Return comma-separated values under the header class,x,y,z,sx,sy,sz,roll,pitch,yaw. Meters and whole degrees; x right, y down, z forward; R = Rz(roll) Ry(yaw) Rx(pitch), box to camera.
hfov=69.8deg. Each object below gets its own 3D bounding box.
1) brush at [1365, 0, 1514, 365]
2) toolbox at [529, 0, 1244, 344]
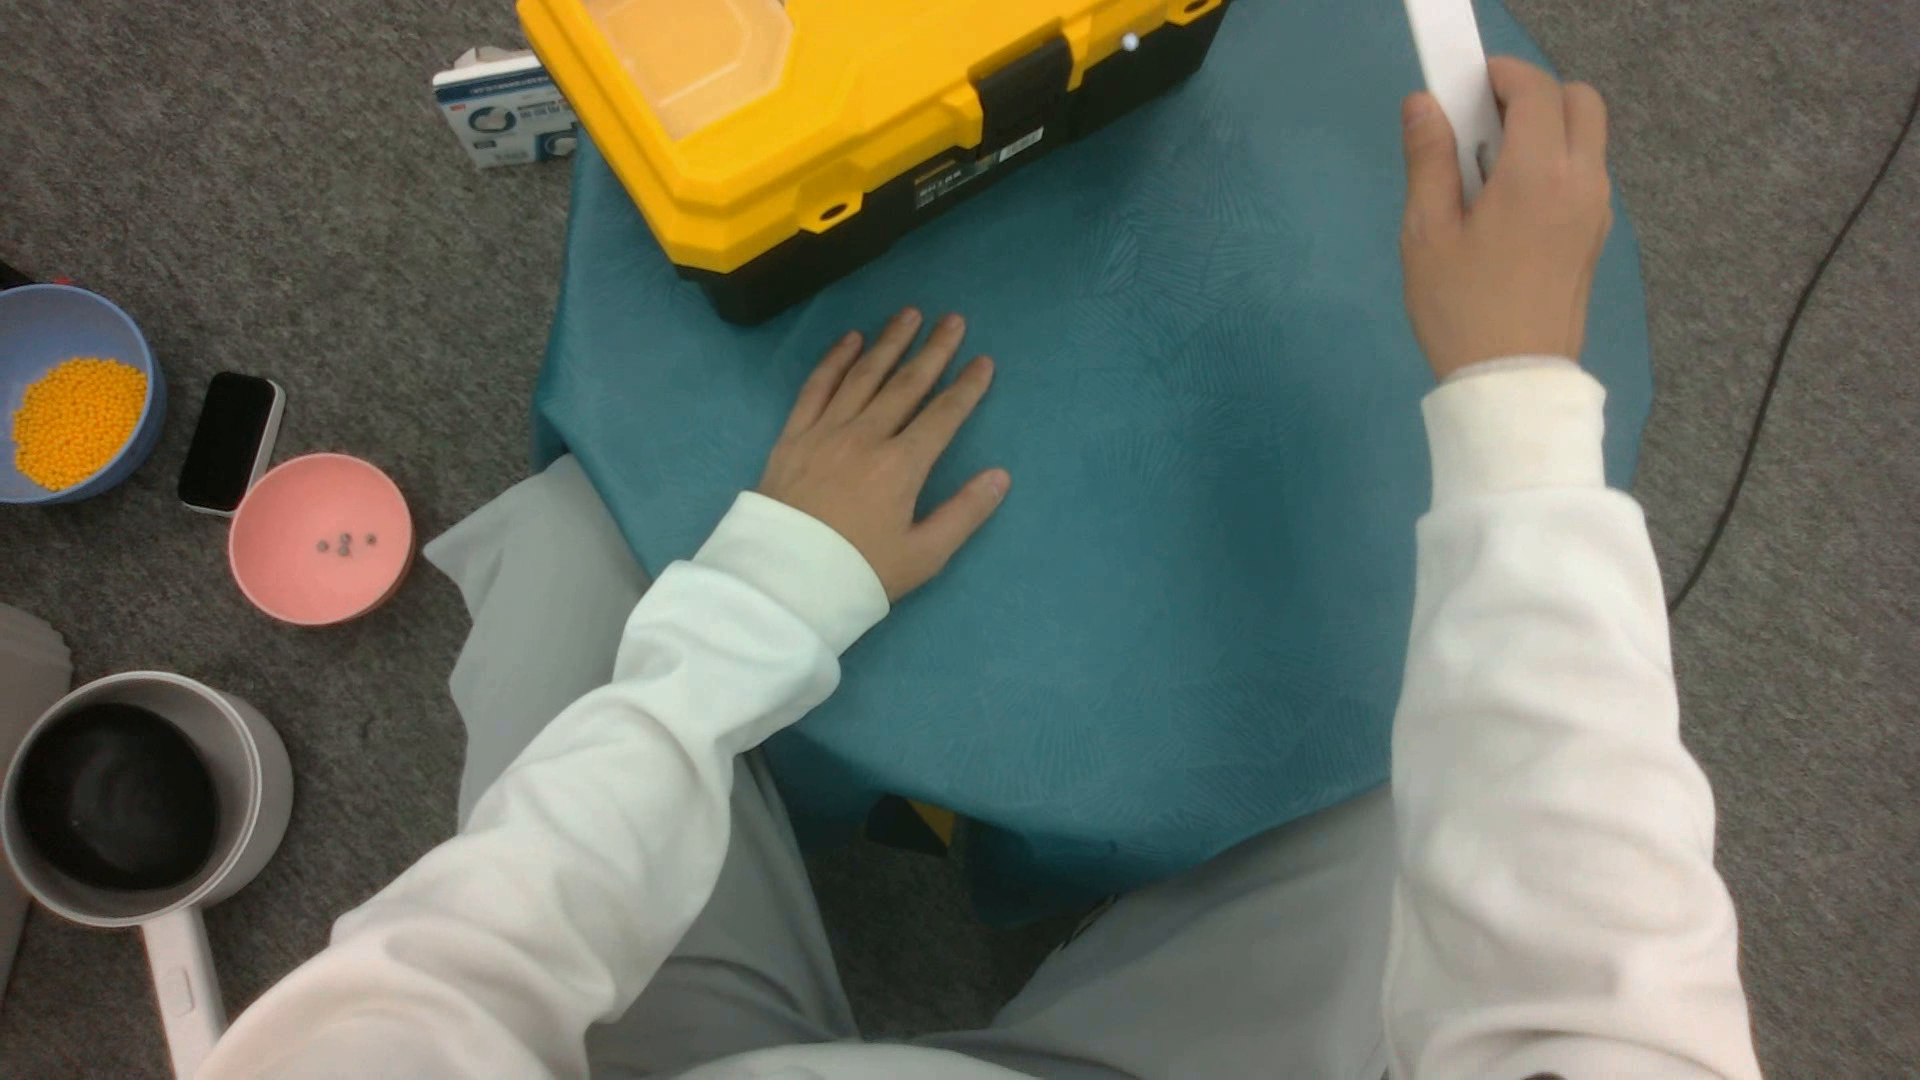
class,x,y,z,sx,sy,sz,roll,pitch,yaw
brush,0.200,-0.207,0.616,0.068,0.056,0.266,-21,111,-3
toolbox,-0.020,-0.255,0.707,0.352,0.172,0.181,-33,79,-9
